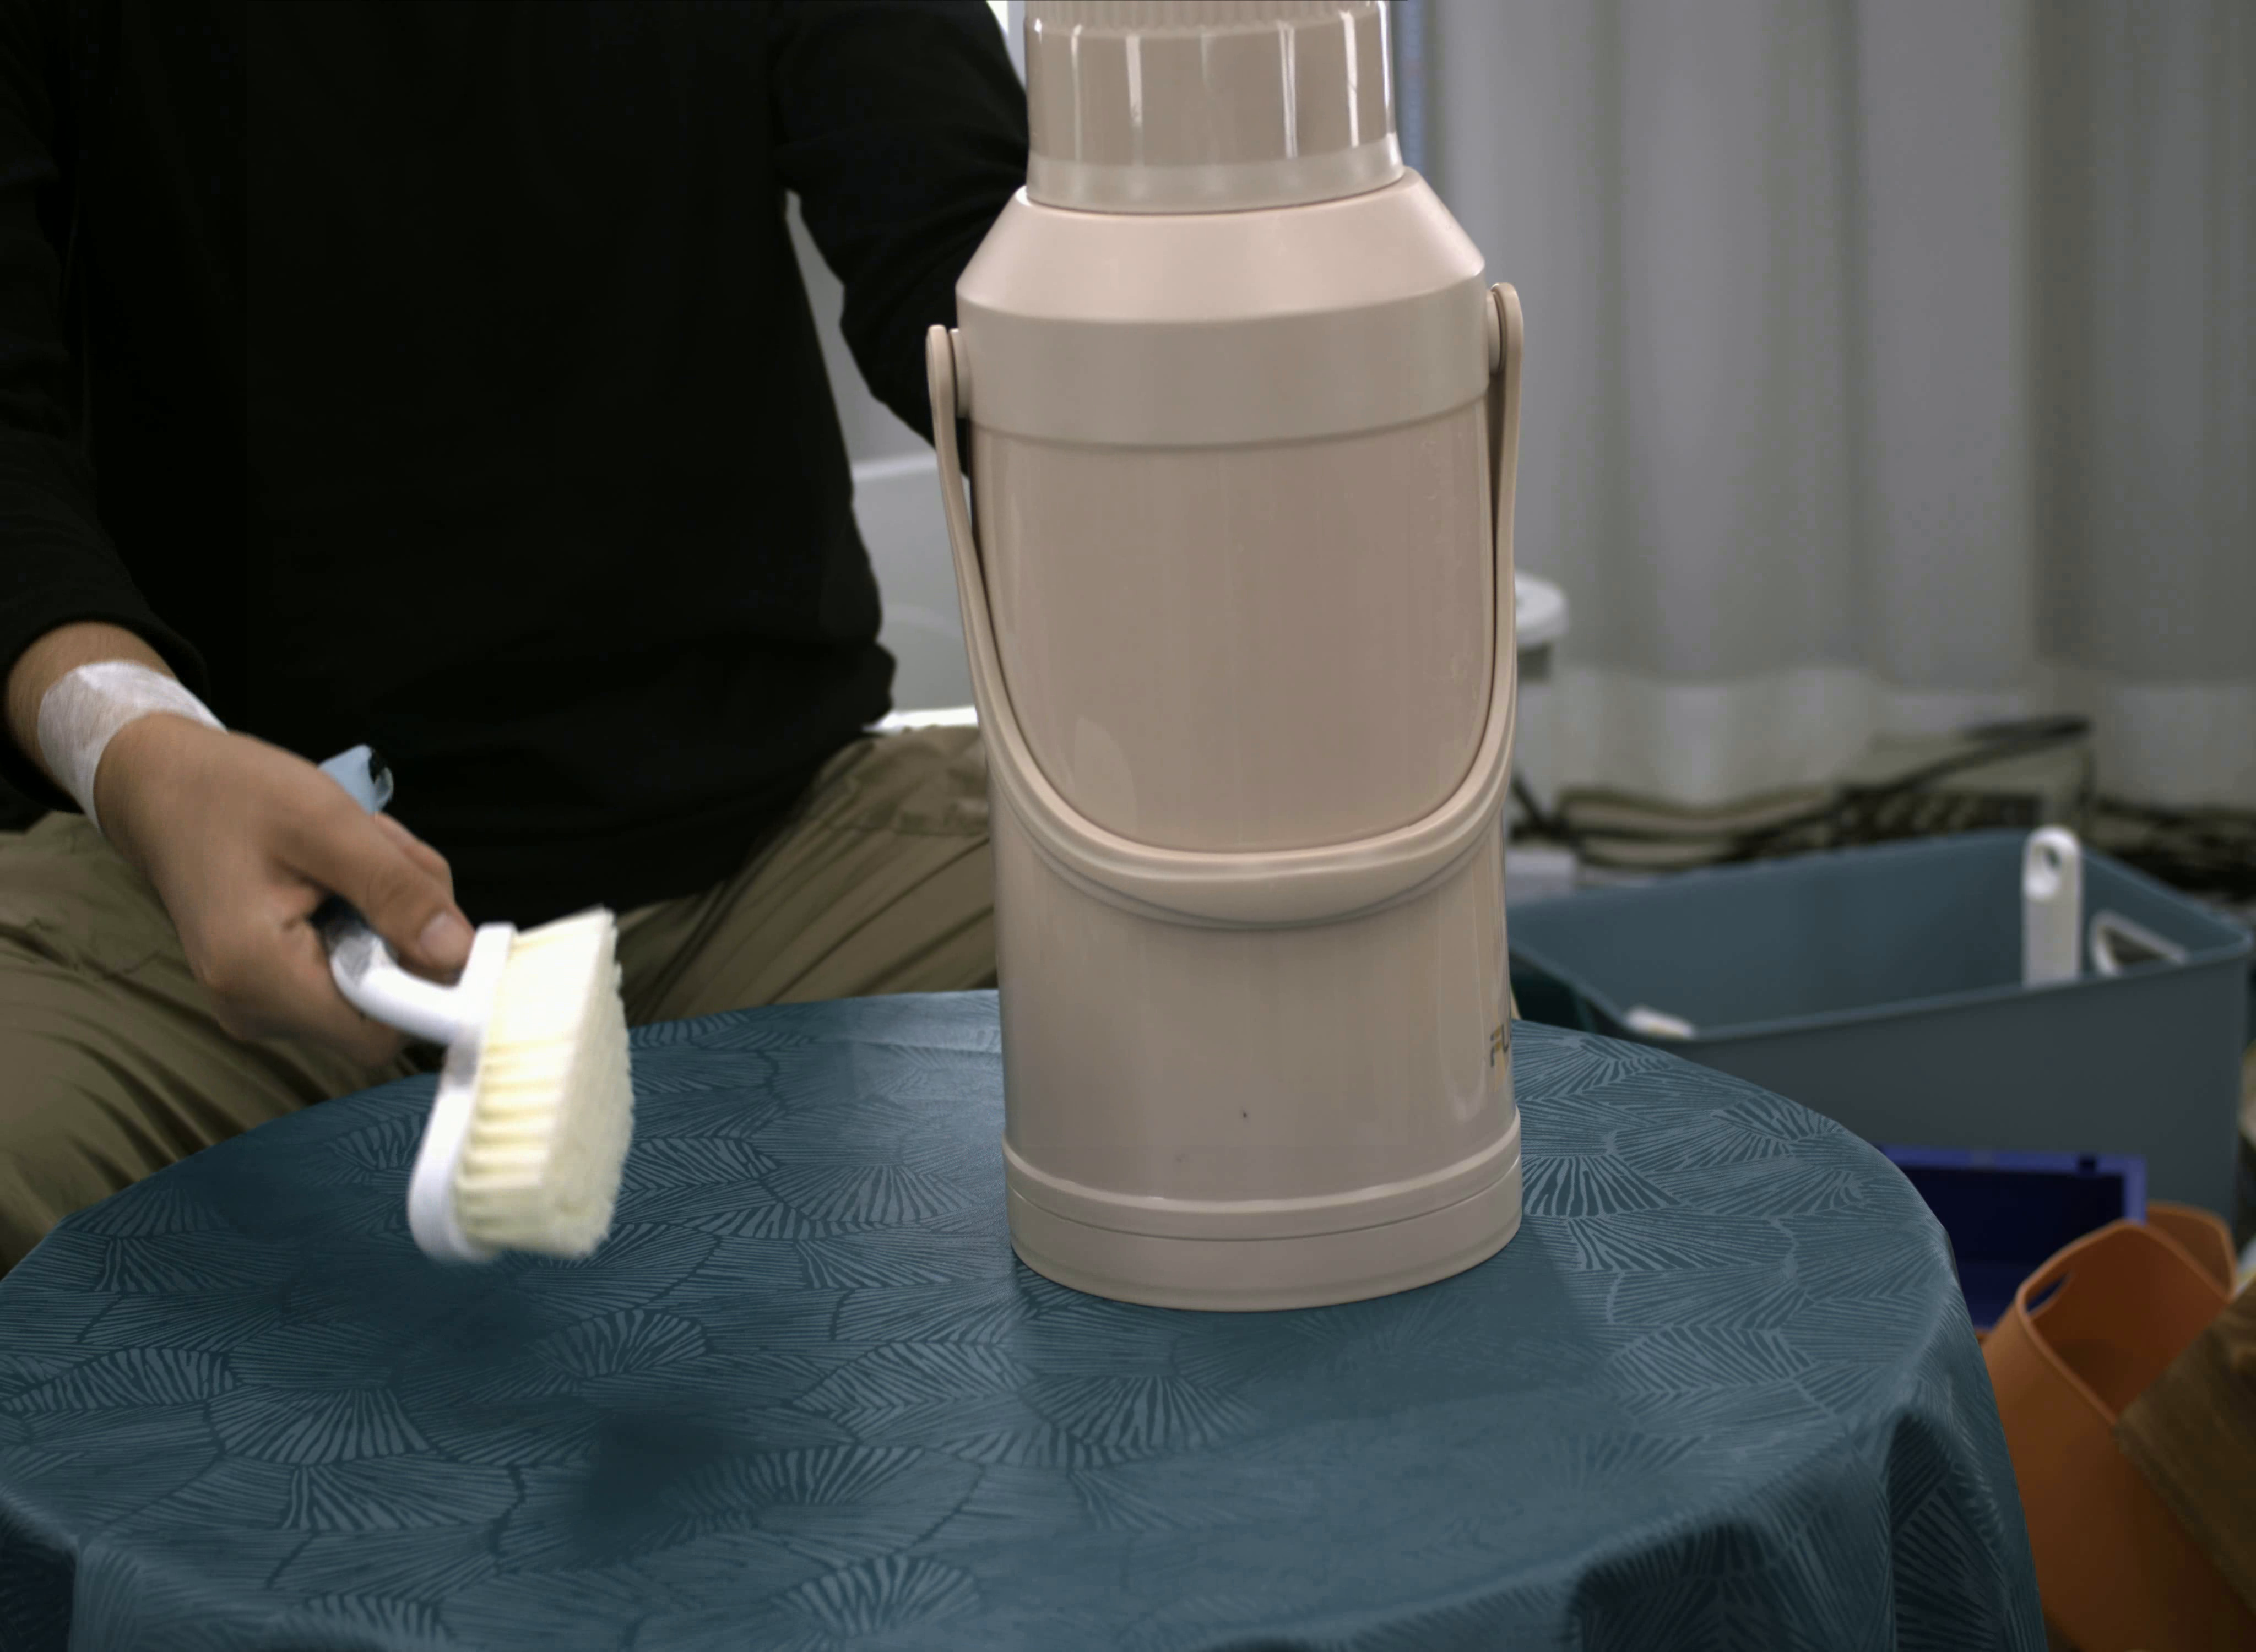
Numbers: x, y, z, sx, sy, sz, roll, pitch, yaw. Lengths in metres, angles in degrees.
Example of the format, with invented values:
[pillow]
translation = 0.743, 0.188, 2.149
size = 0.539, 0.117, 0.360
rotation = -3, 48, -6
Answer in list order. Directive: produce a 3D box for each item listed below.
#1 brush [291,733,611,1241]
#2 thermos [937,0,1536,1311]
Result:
[brush]
translation = -0.187, 0.032, 1.609
size = 0.084, 0.083, 0.329
rotation = 31, 13, -21
[thermos]
translation = 0.034, -0.073, 1.647
size = 0.174, 0.405, 0.208
rotation = -6, 14, -7
